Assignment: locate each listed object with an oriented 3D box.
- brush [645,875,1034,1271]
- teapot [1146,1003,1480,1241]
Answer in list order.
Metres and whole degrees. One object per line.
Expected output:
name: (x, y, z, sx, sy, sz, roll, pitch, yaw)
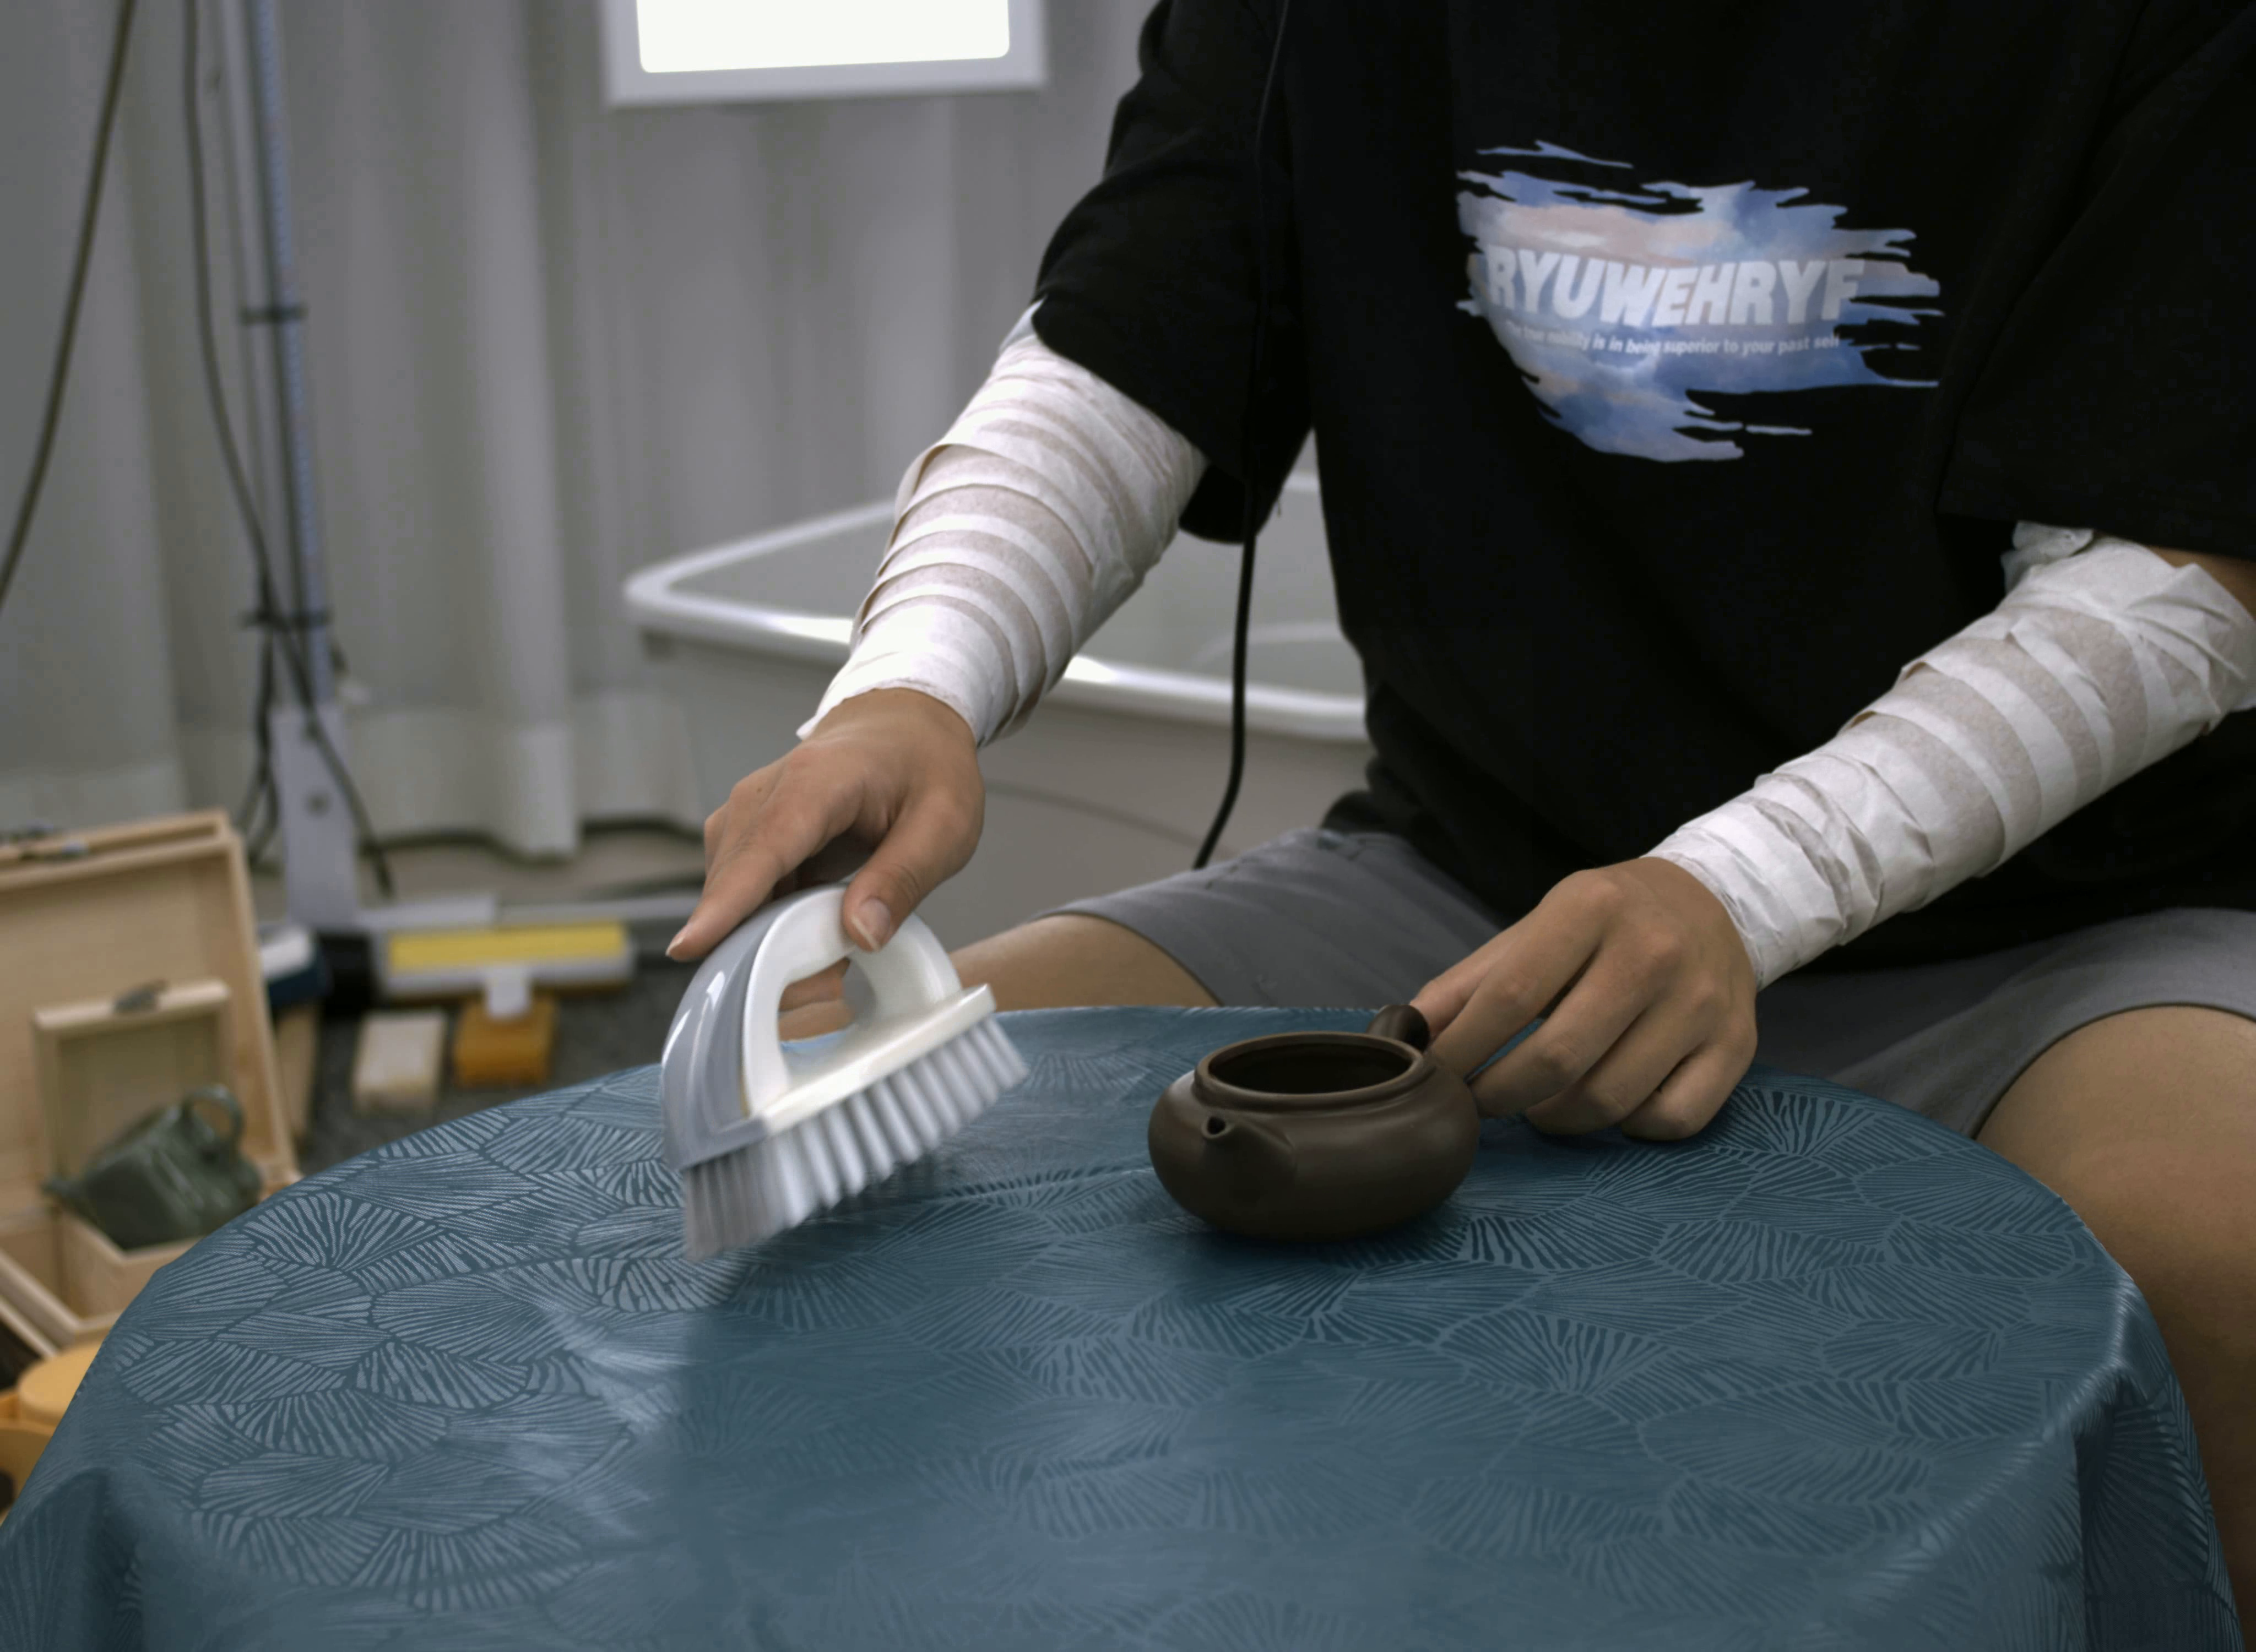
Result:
brush: (-0.102, 0.071, 1.694, 0.061, 0.094, 0.176, -20, 7, 32)
teapot: (0.058, 0.092, 1.683, 0.102, 0.053, 0.154, 4, 16, 20)
